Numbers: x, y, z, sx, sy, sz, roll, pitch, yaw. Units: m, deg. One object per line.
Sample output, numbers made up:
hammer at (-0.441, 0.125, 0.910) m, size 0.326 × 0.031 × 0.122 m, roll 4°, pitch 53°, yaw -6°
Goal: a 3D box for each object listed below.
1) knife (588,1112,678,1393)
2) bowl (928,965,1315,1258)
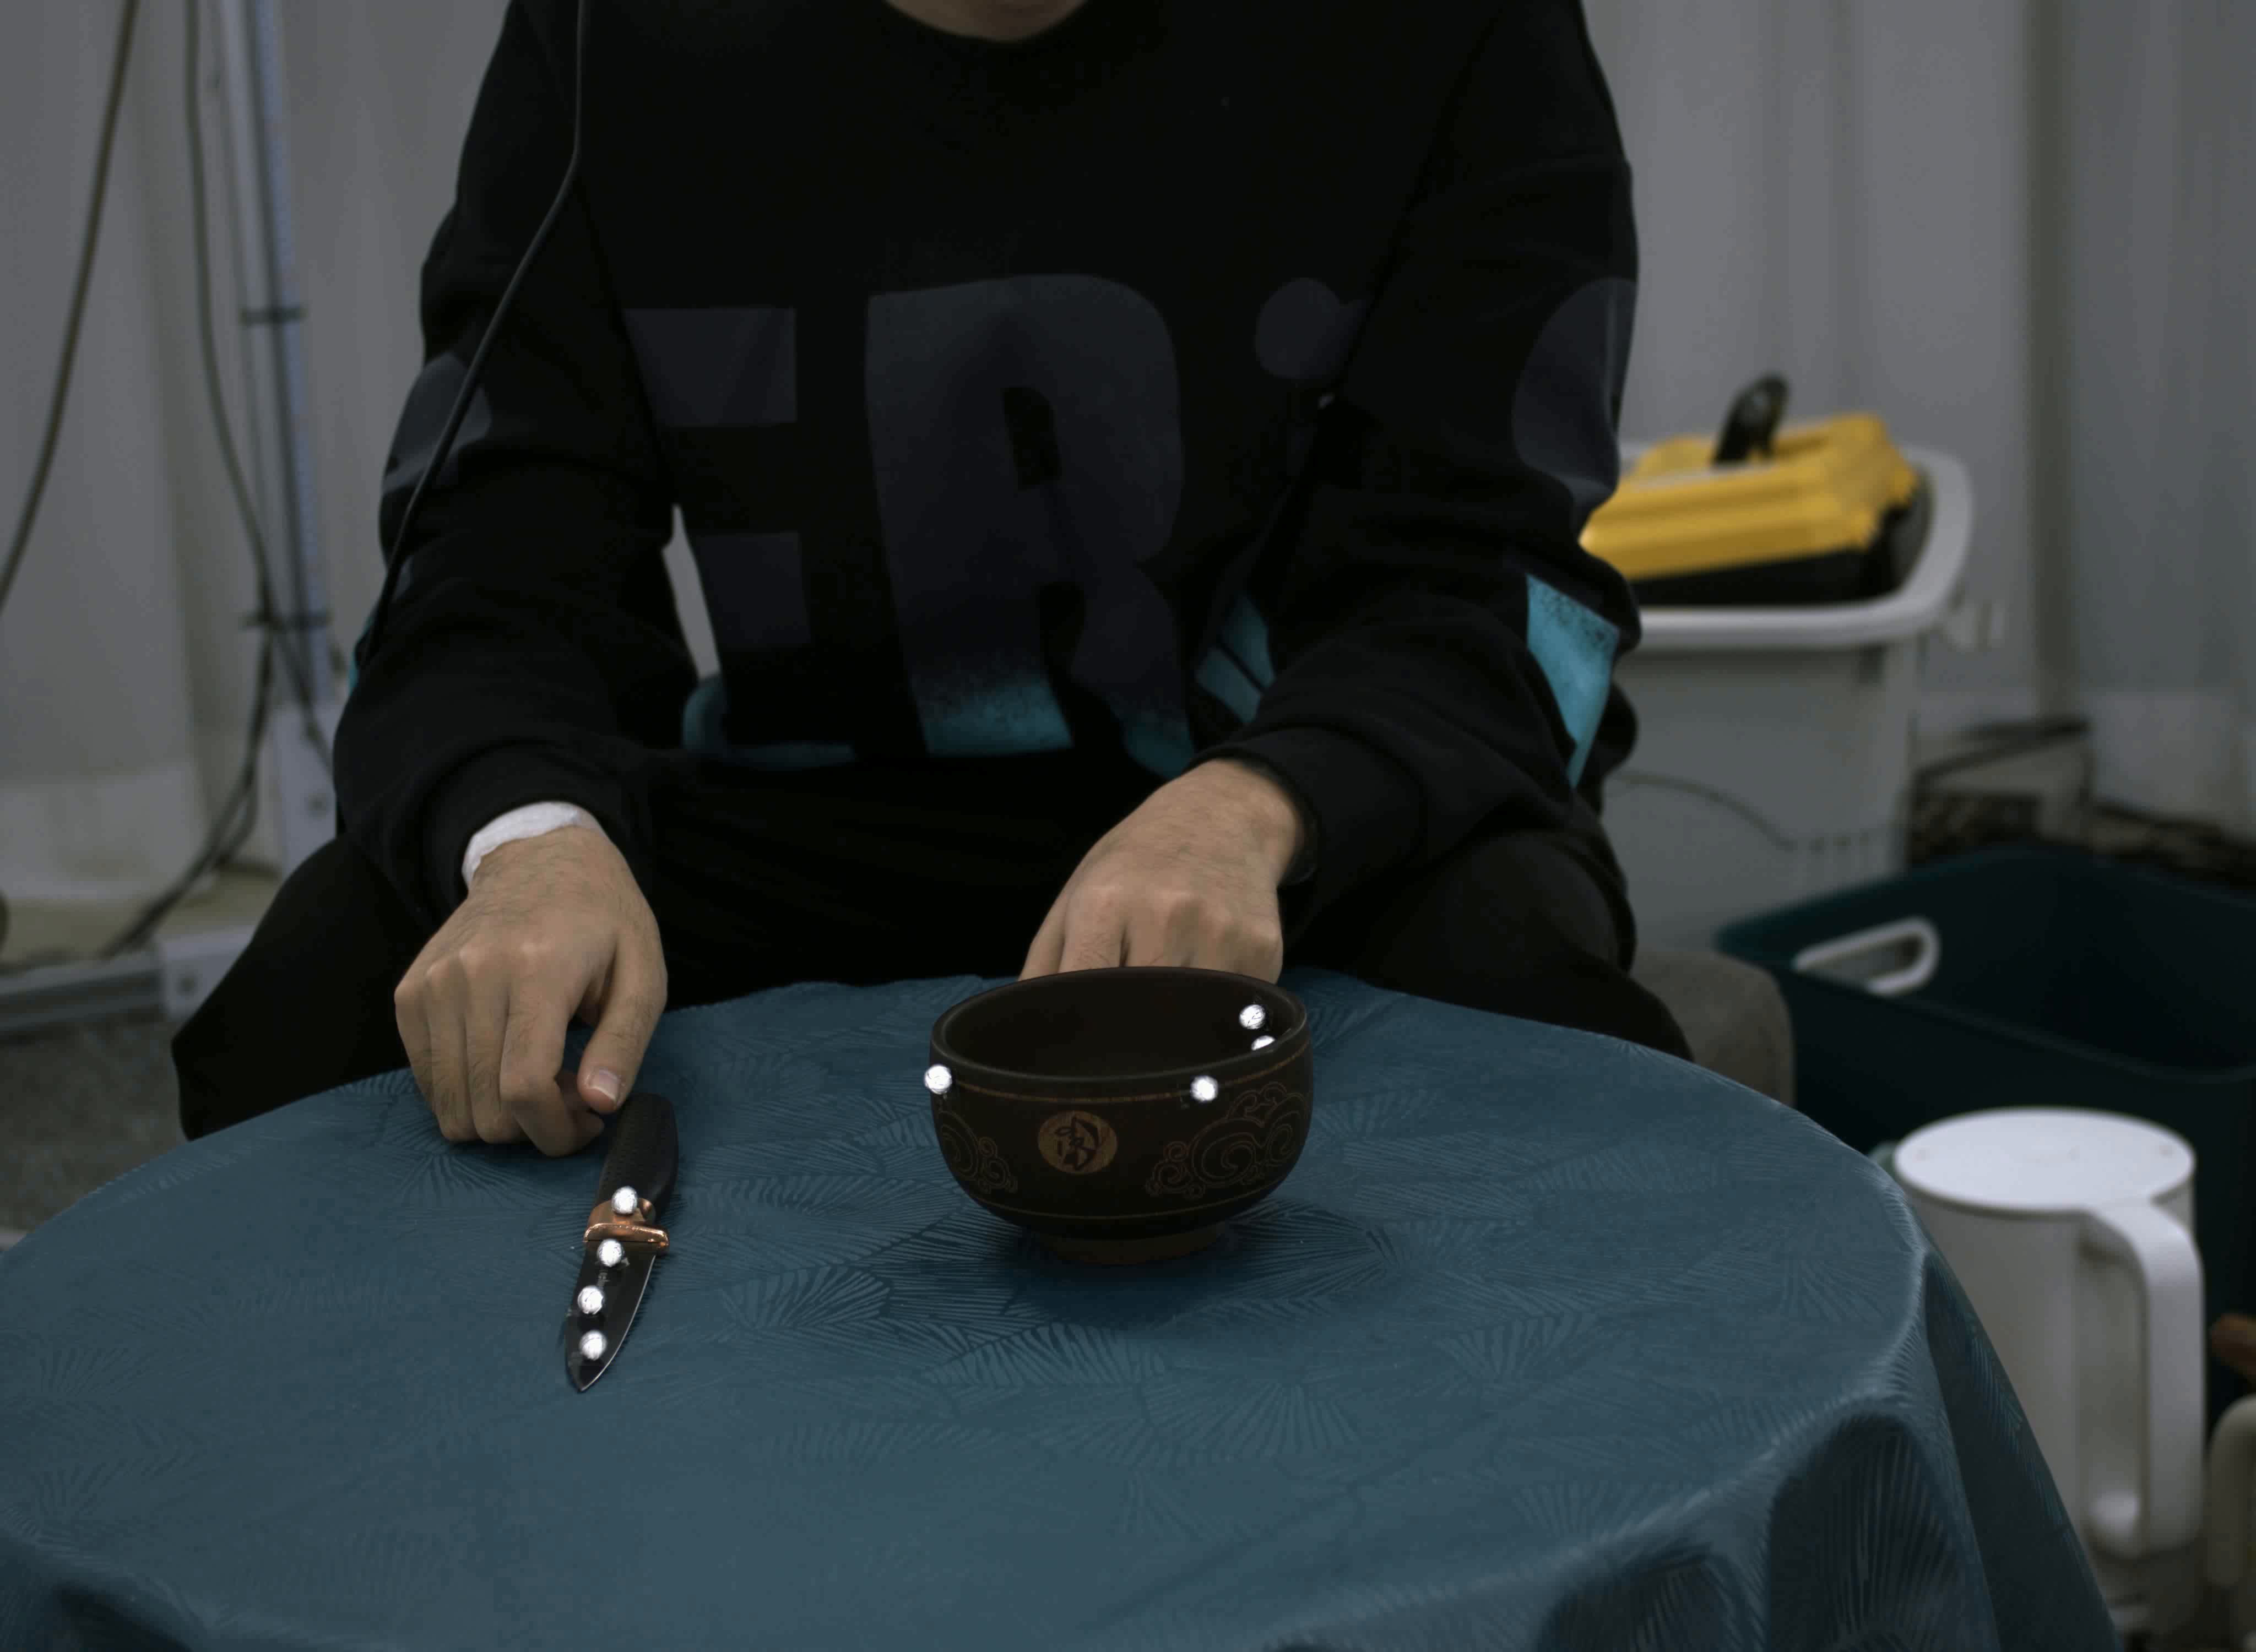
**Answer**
knife at (-0.152, 0.129, 1.671) m, size 0.026 × 0.017 × 0.227 m, roll 3°, pitch 16°, yaw -2°
bowl at (-0.002, 0.090, 1.664) m, size 0.117 × 0.069 × 0.119 m, roll -2°, pitch 13°, yaw 0°
